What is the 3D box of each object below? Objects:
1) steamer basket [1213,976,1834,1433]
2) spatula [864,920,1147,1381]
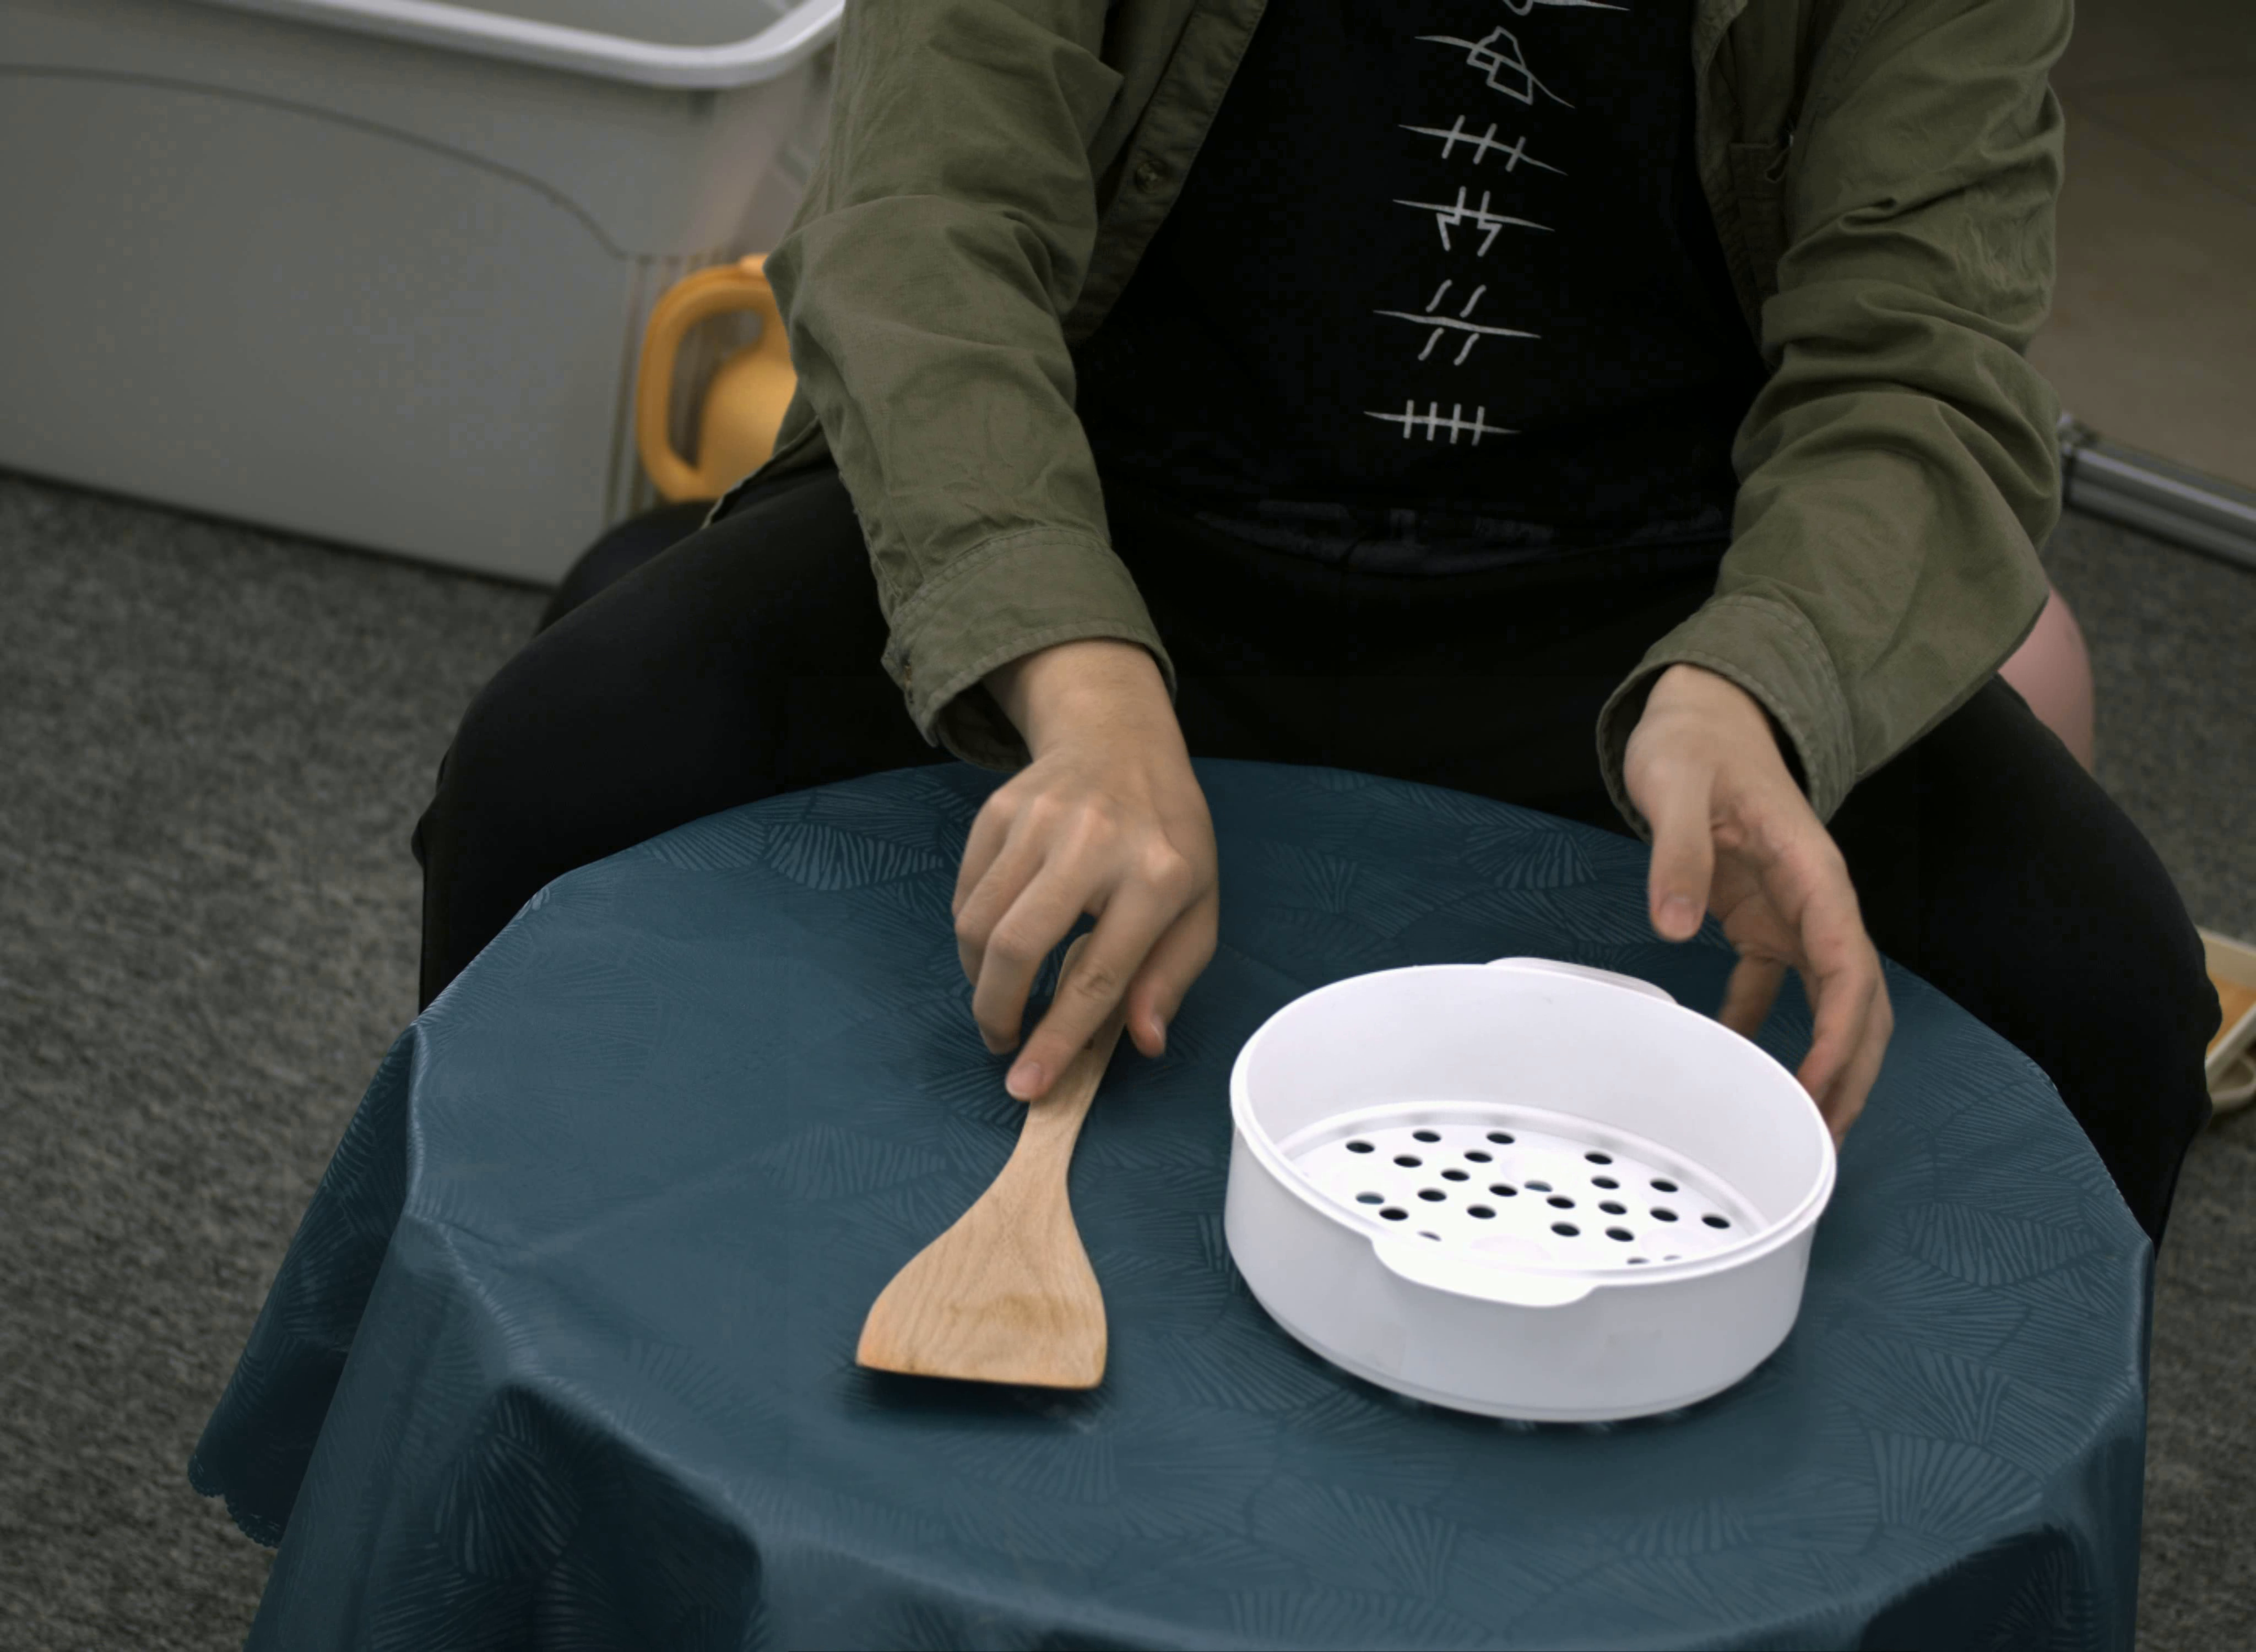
[{"bbox_3d":[0.128,0.125,1.753,0.202,0.069,0.231,12,26,10],"label":"steamer basket"},{"bbox_3d":[-0.025,0.106,1.810,0.080,0.016,0.329,9,27,4],"label":"spatula"}]
